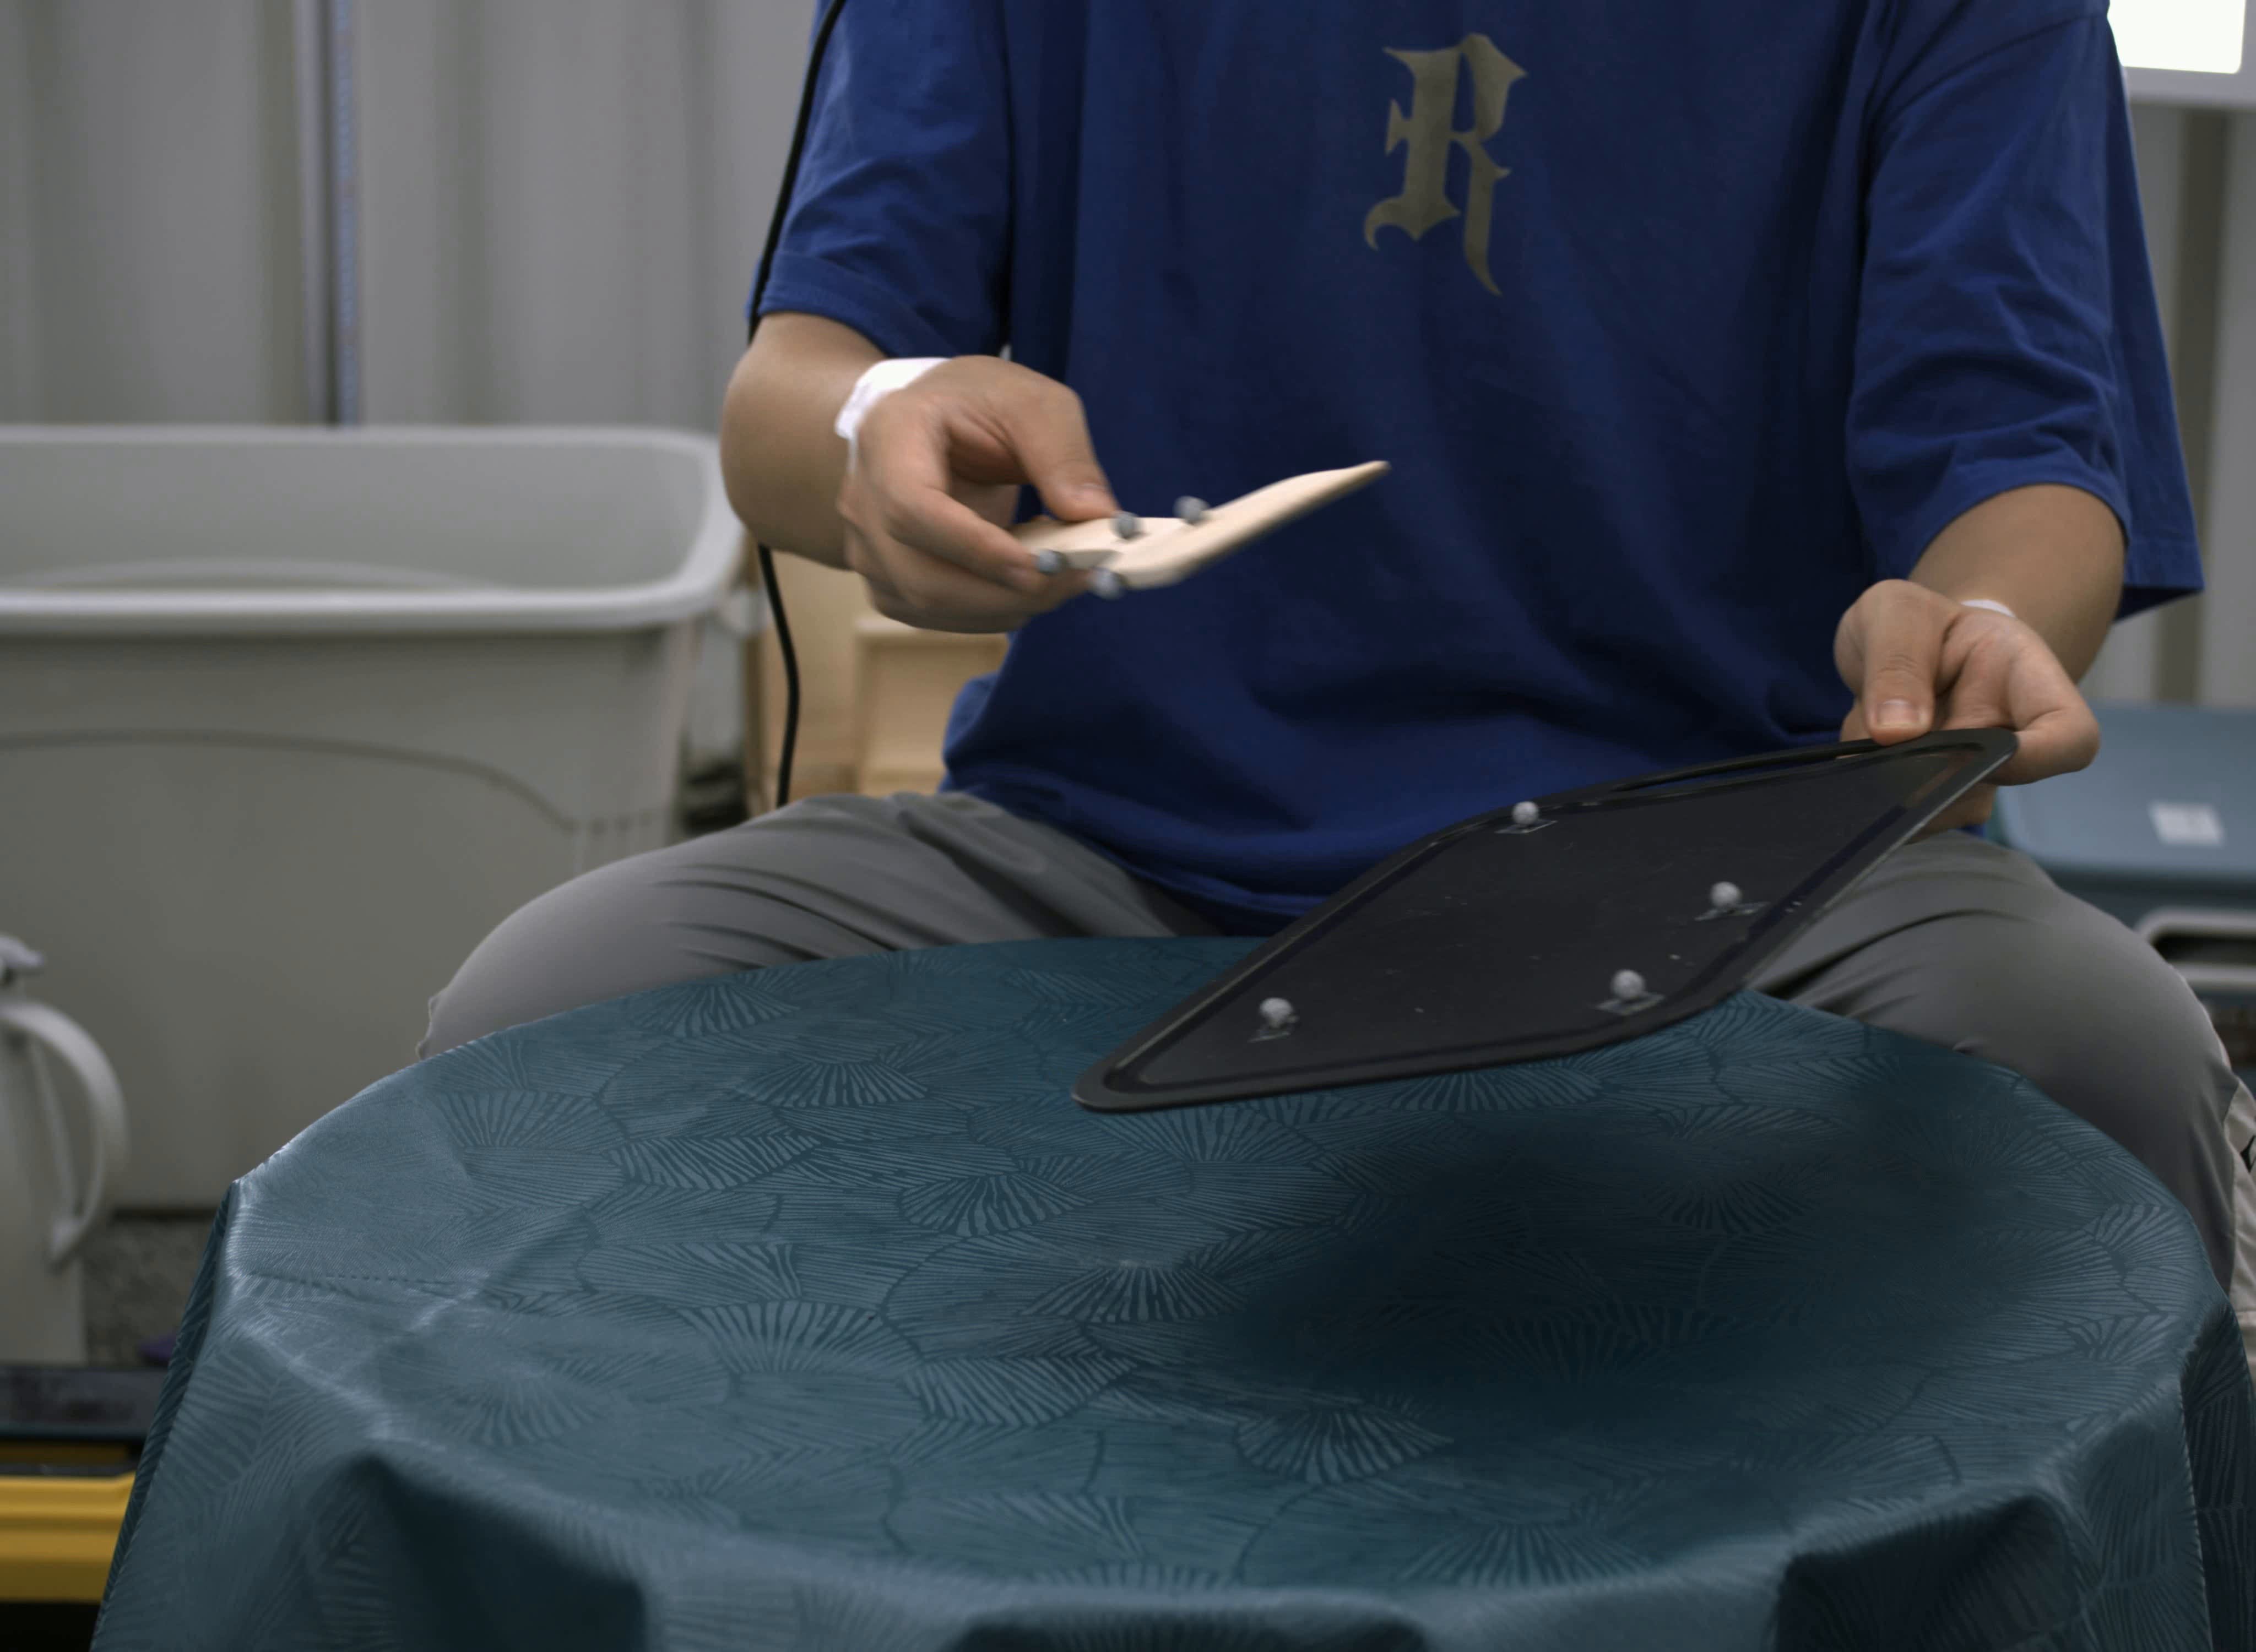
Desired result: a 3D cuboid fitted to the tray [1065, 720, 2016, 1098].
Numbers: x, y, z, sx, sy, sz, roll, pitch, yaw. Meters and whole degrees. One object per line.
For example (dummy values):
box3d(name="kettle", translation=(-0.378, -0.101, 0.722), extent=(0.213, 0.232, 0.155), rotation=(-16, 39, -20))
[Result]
box3d(name="tray", translation=(0.129, 0.019, 1.552), extent=(0.209, 0.010, 0.326), rotation=(-9, 12, 32))

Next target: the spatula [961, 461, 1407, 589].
box3d(name="spatula", translation=(0.002, -0.089, 1.633), extent=(0.072, 0.011, 0.291), rotation=(-28, 10, -18))
